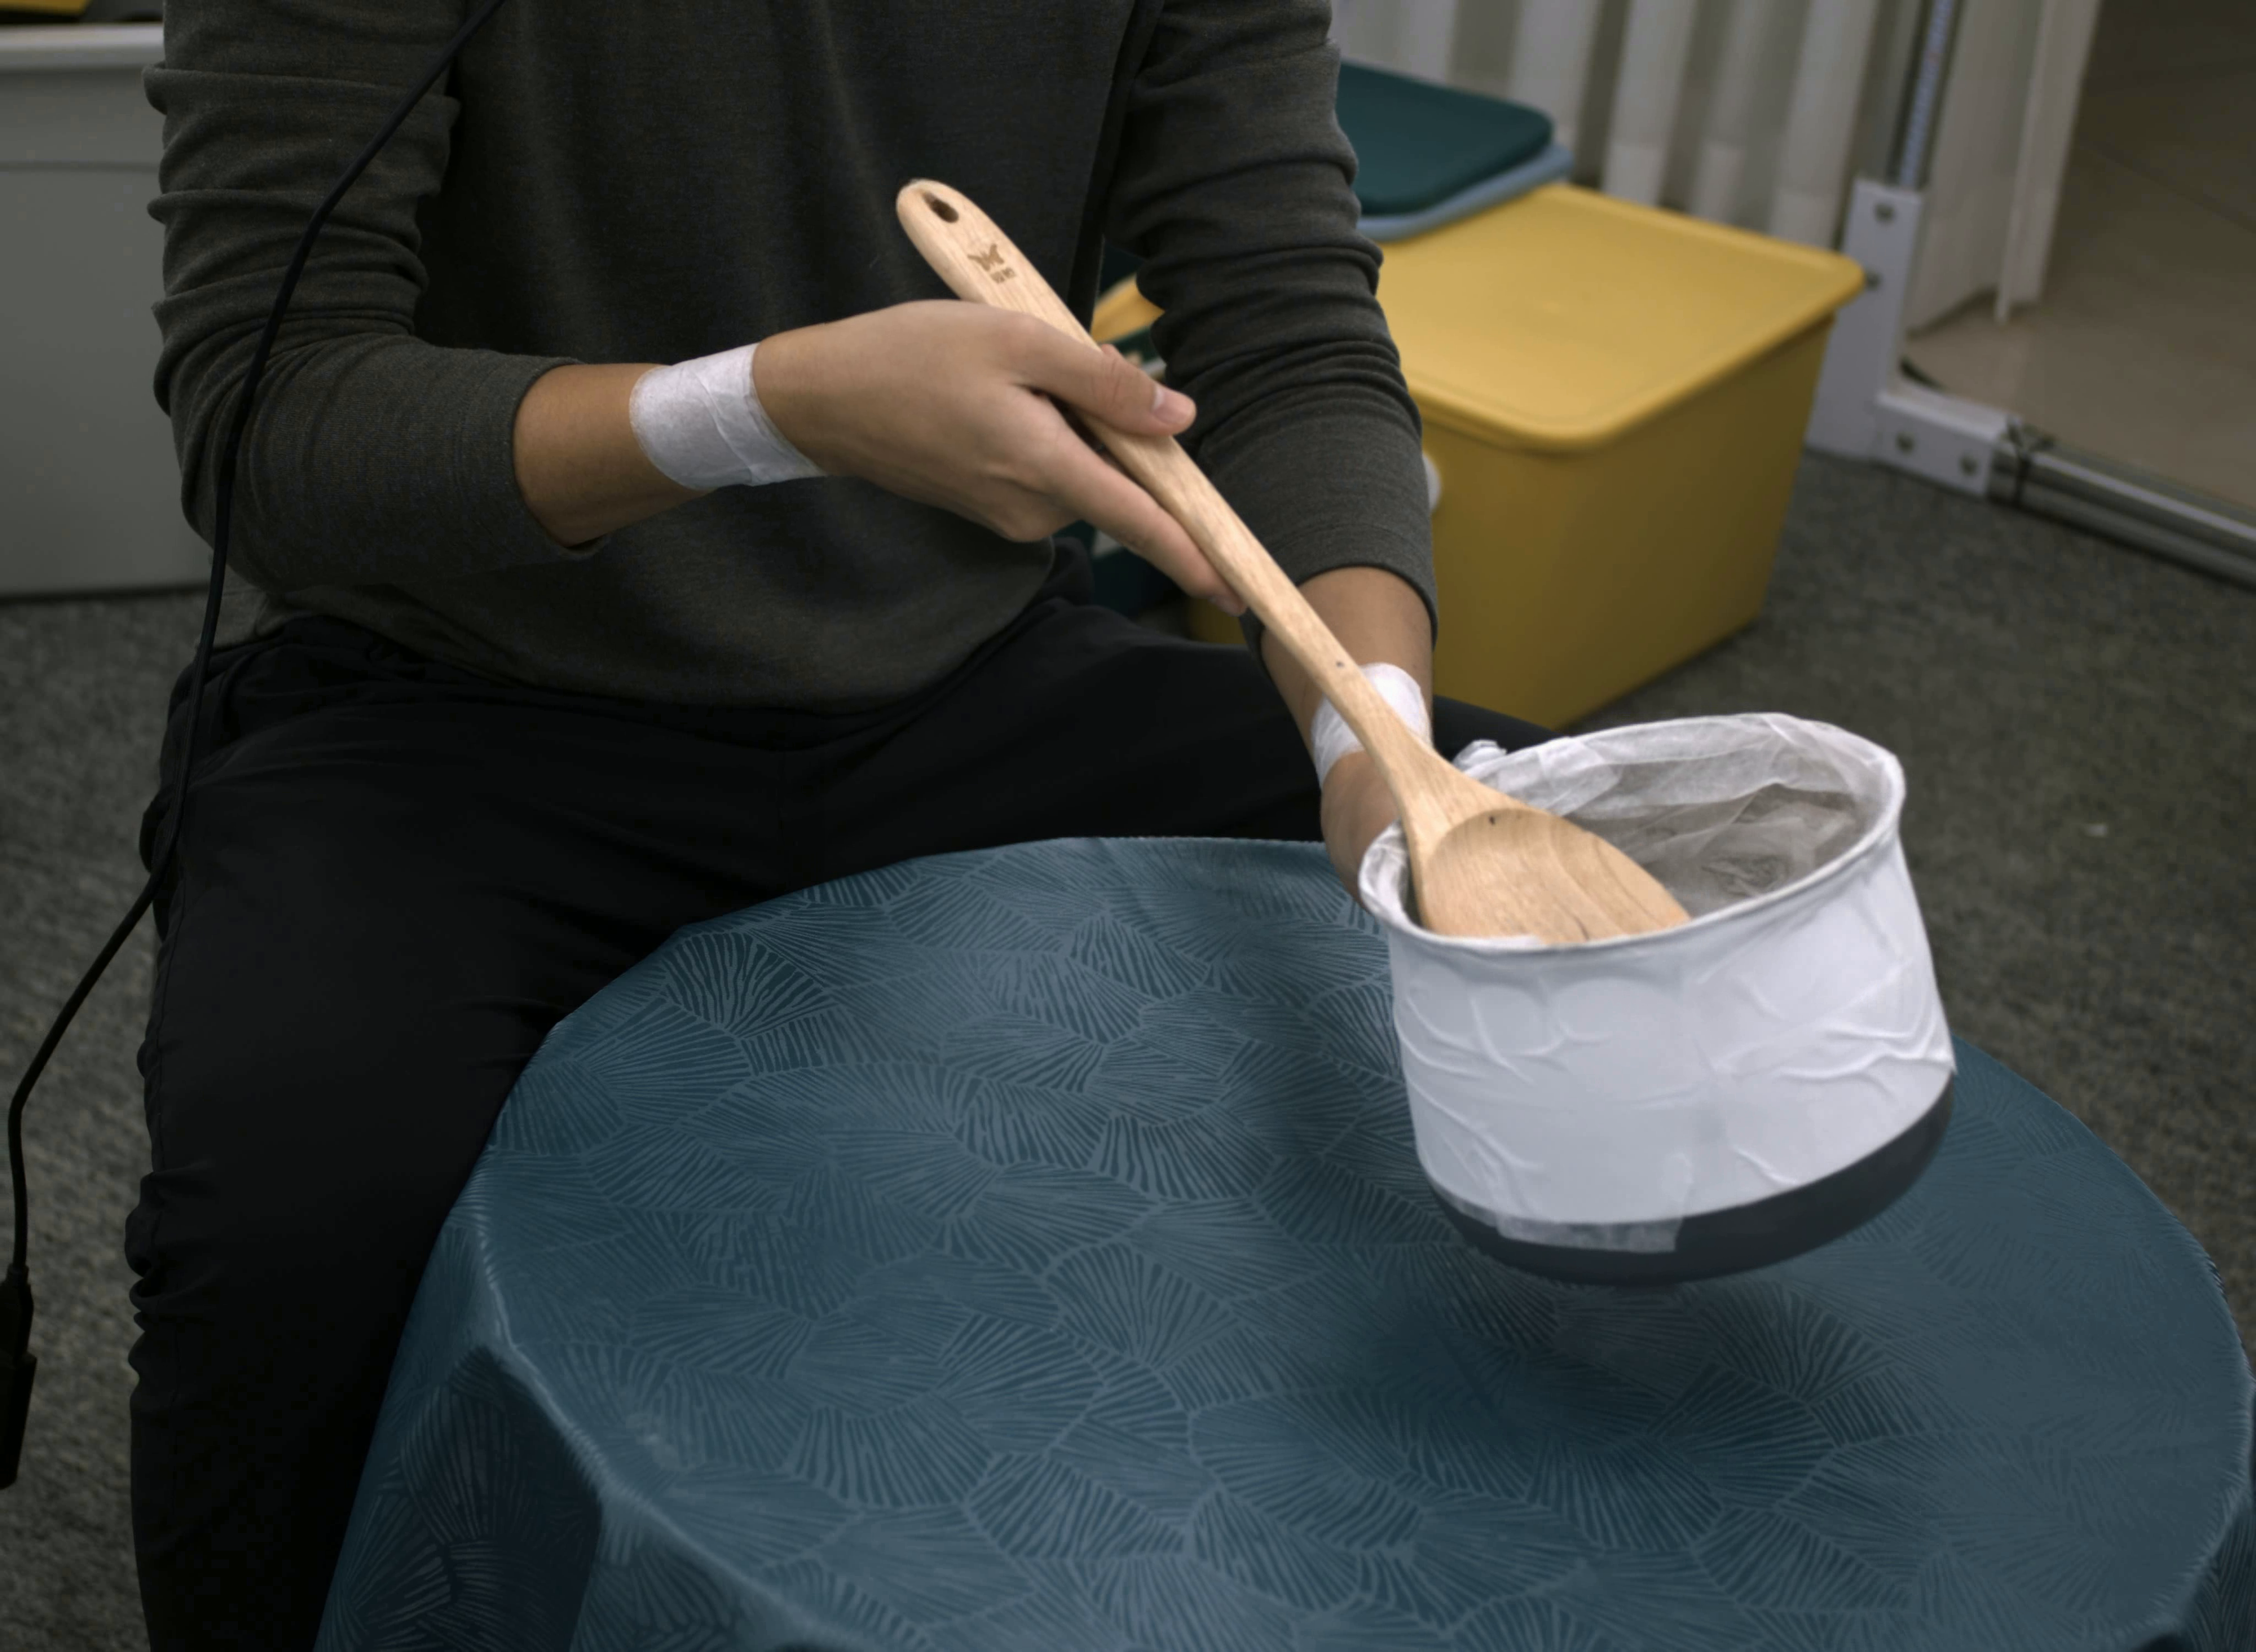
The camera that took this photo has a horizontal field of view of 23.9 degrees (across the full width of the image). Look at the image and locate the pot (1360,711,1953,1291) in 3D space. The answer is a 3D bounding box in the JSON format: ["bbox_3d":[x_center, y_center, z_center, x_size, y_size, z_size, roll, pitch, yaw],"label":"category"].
[{"bbox_3d":[0.160,0.050,1.738,0.178,0.136,0.235,-20,22,-21],"label":"pot"}]

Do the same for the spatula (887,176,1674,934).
[{"bbox_3d":[0.042,-0.076,1.762,0.095,0.018,0.393,-27,70,-40],"label":"spatula"}]
